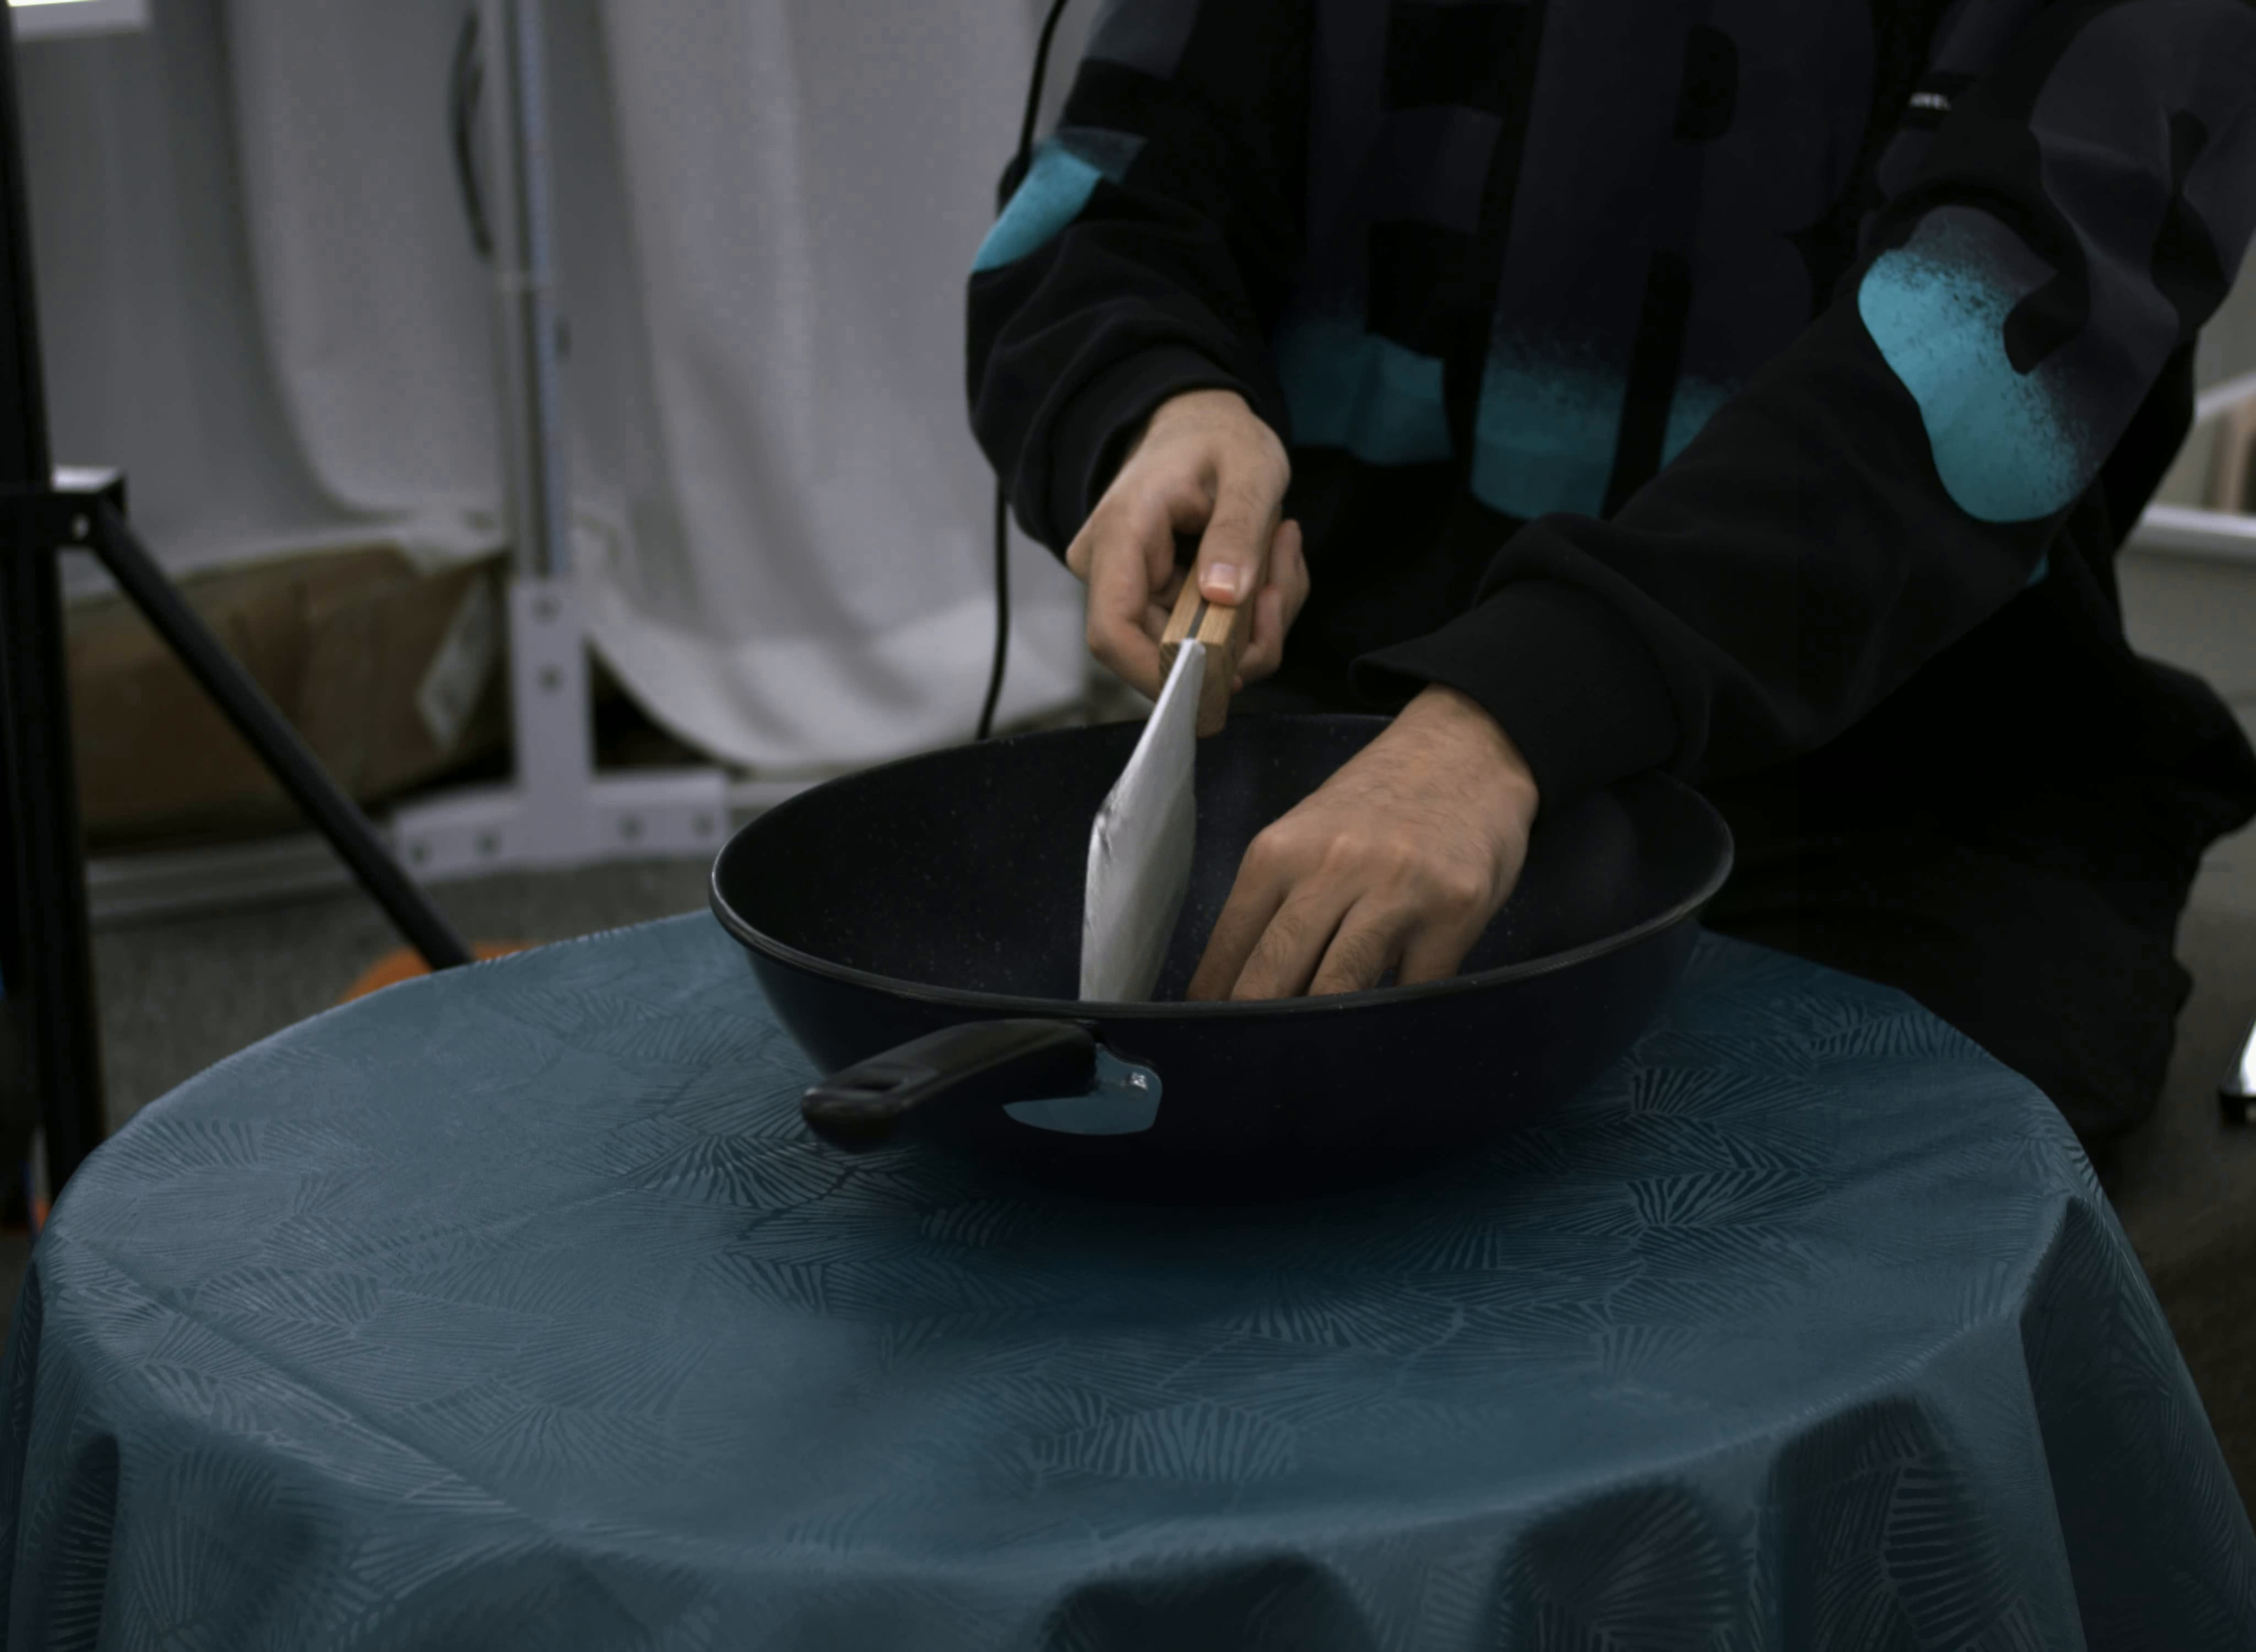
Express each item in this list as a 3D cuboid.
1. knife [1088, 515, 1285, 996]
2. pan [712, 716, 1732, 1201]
[{"bbox_3d":[0.016,-0.017,1.657,0.022,0.113,0.315,5,30,9],"label":"knife"},{"bbox_3d":[0.004,0.058,1.540,0.313,0.111,0.472,1,16,19],"label":"pan"}]
